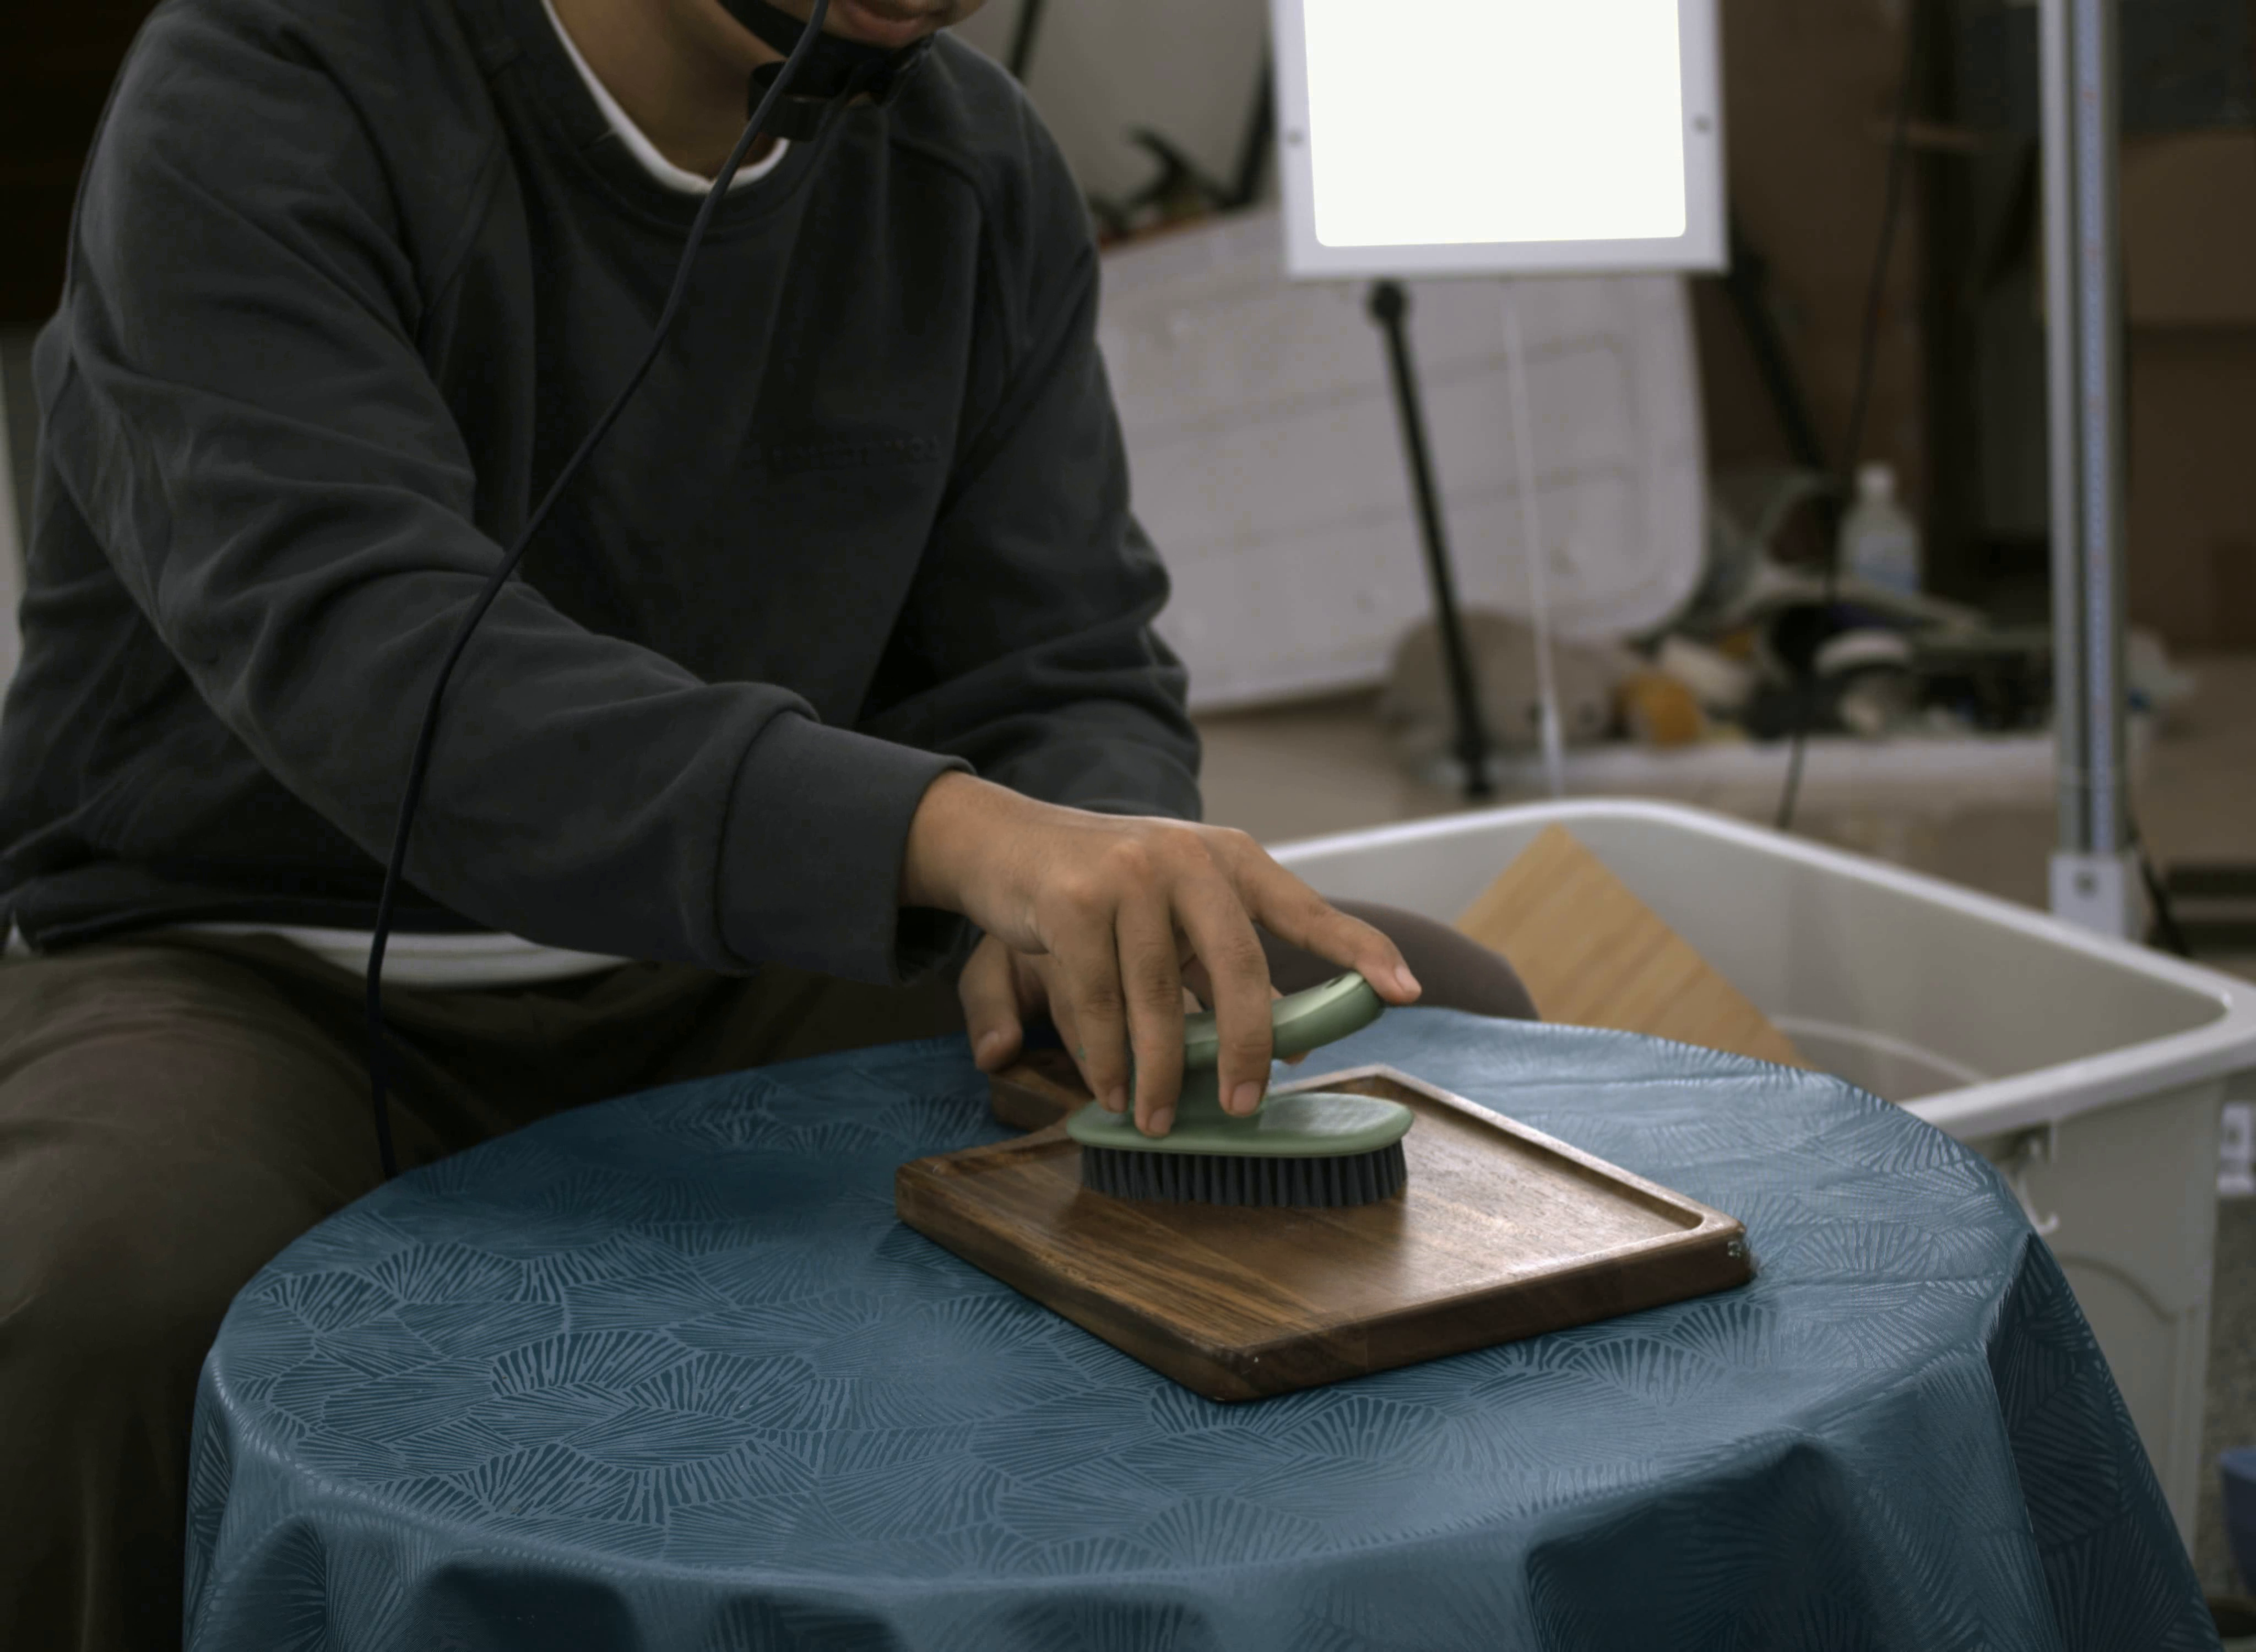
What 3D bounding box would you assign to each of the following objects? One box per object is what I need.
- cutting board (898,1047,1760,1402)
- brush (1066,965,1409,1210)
[{"bbox_3d":[0.040,0.121,1.862,0.197,0.023,0.358,-11,14,-24],"label":"cutting board"},{"bbox_3d":[0.038,0.095,1.846,0.125,0.076,0.058,-15,4,30],"label":"brush"}]
